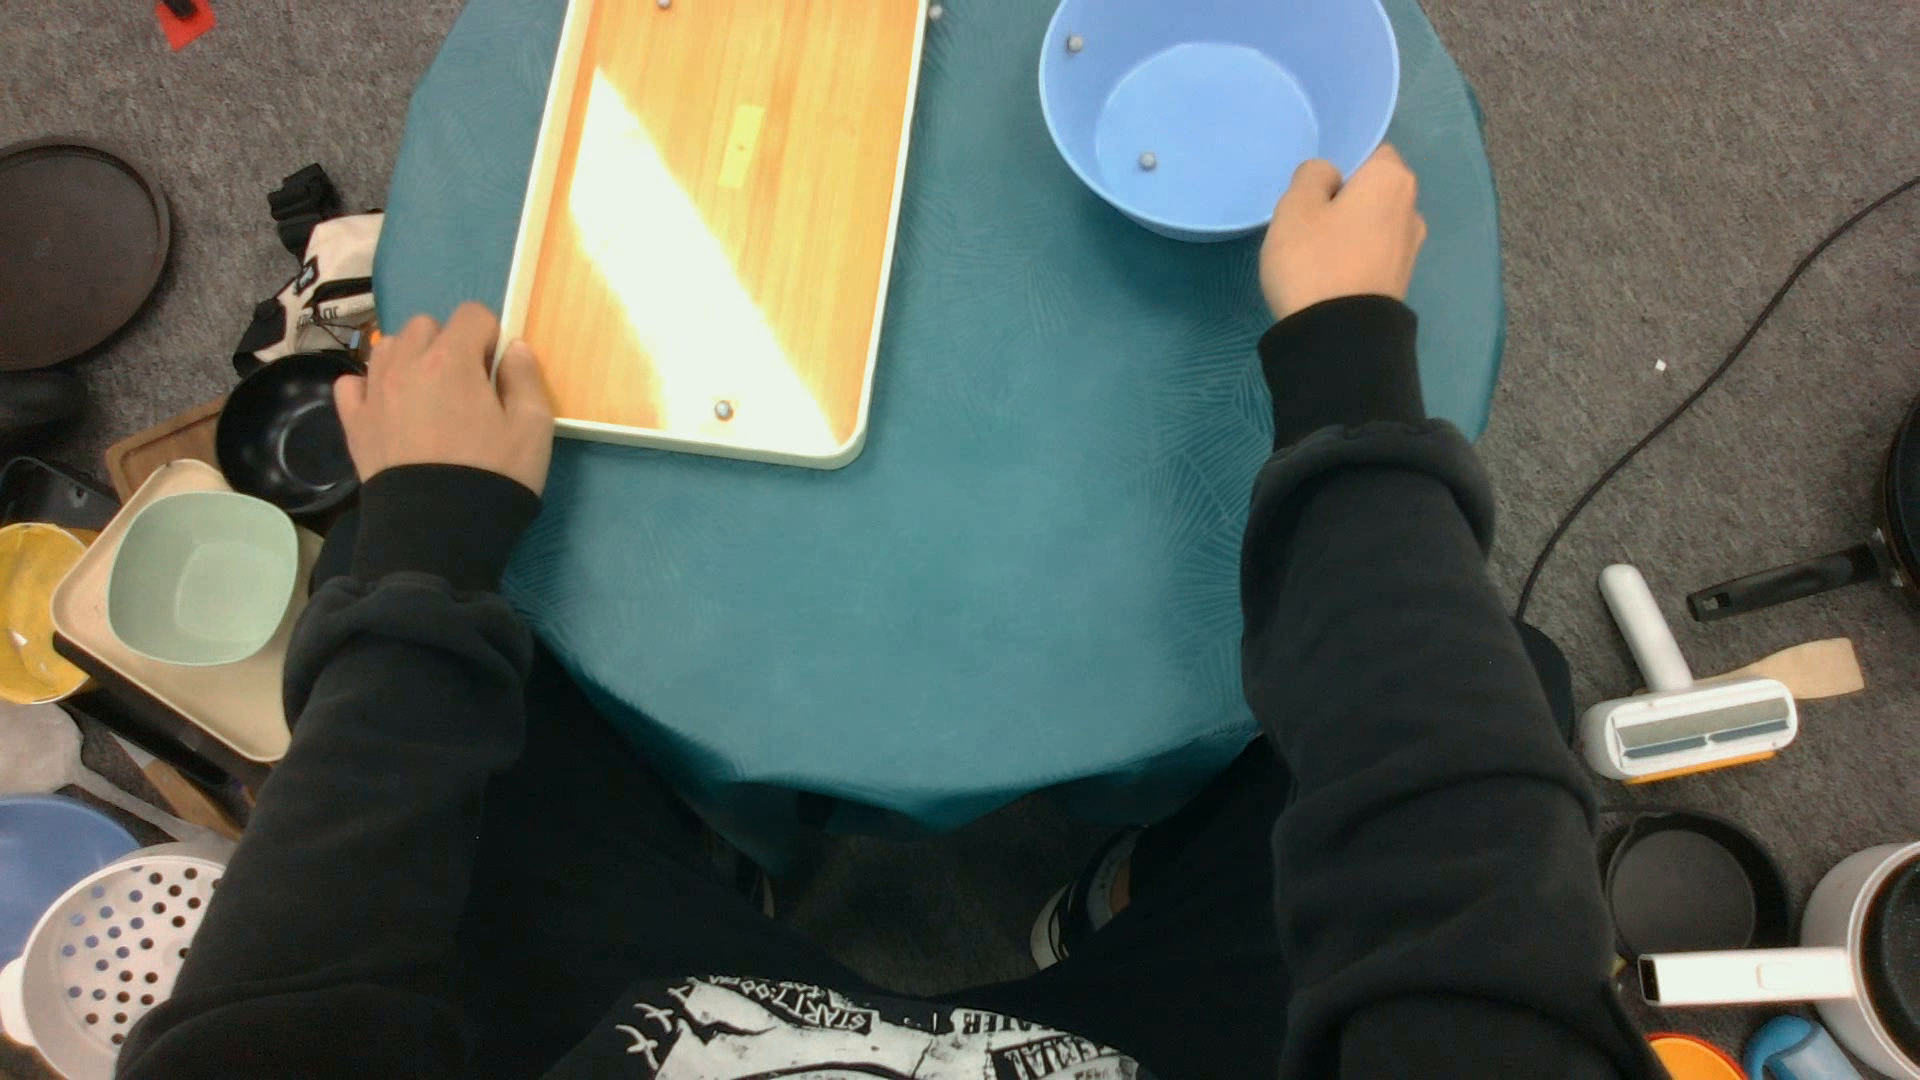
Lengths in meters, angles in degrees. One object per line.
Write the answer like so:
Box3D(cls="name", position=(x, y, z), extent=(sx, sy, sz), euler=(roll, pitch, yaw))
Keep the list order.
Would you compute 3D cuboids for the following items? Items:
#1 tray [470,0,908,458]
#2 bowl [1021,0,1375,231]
Box3D(cls="tray", position=(-0.136, -0.197, 0.731), extent=(0.191, 0.027, 0.301), euler=(7, 76, 1))
Box3D(cls="bowl", position=(0.120, -0.229, 0.716), extent=(0.176, 0.070, 0.176), euler=(-1, 73, 3))
